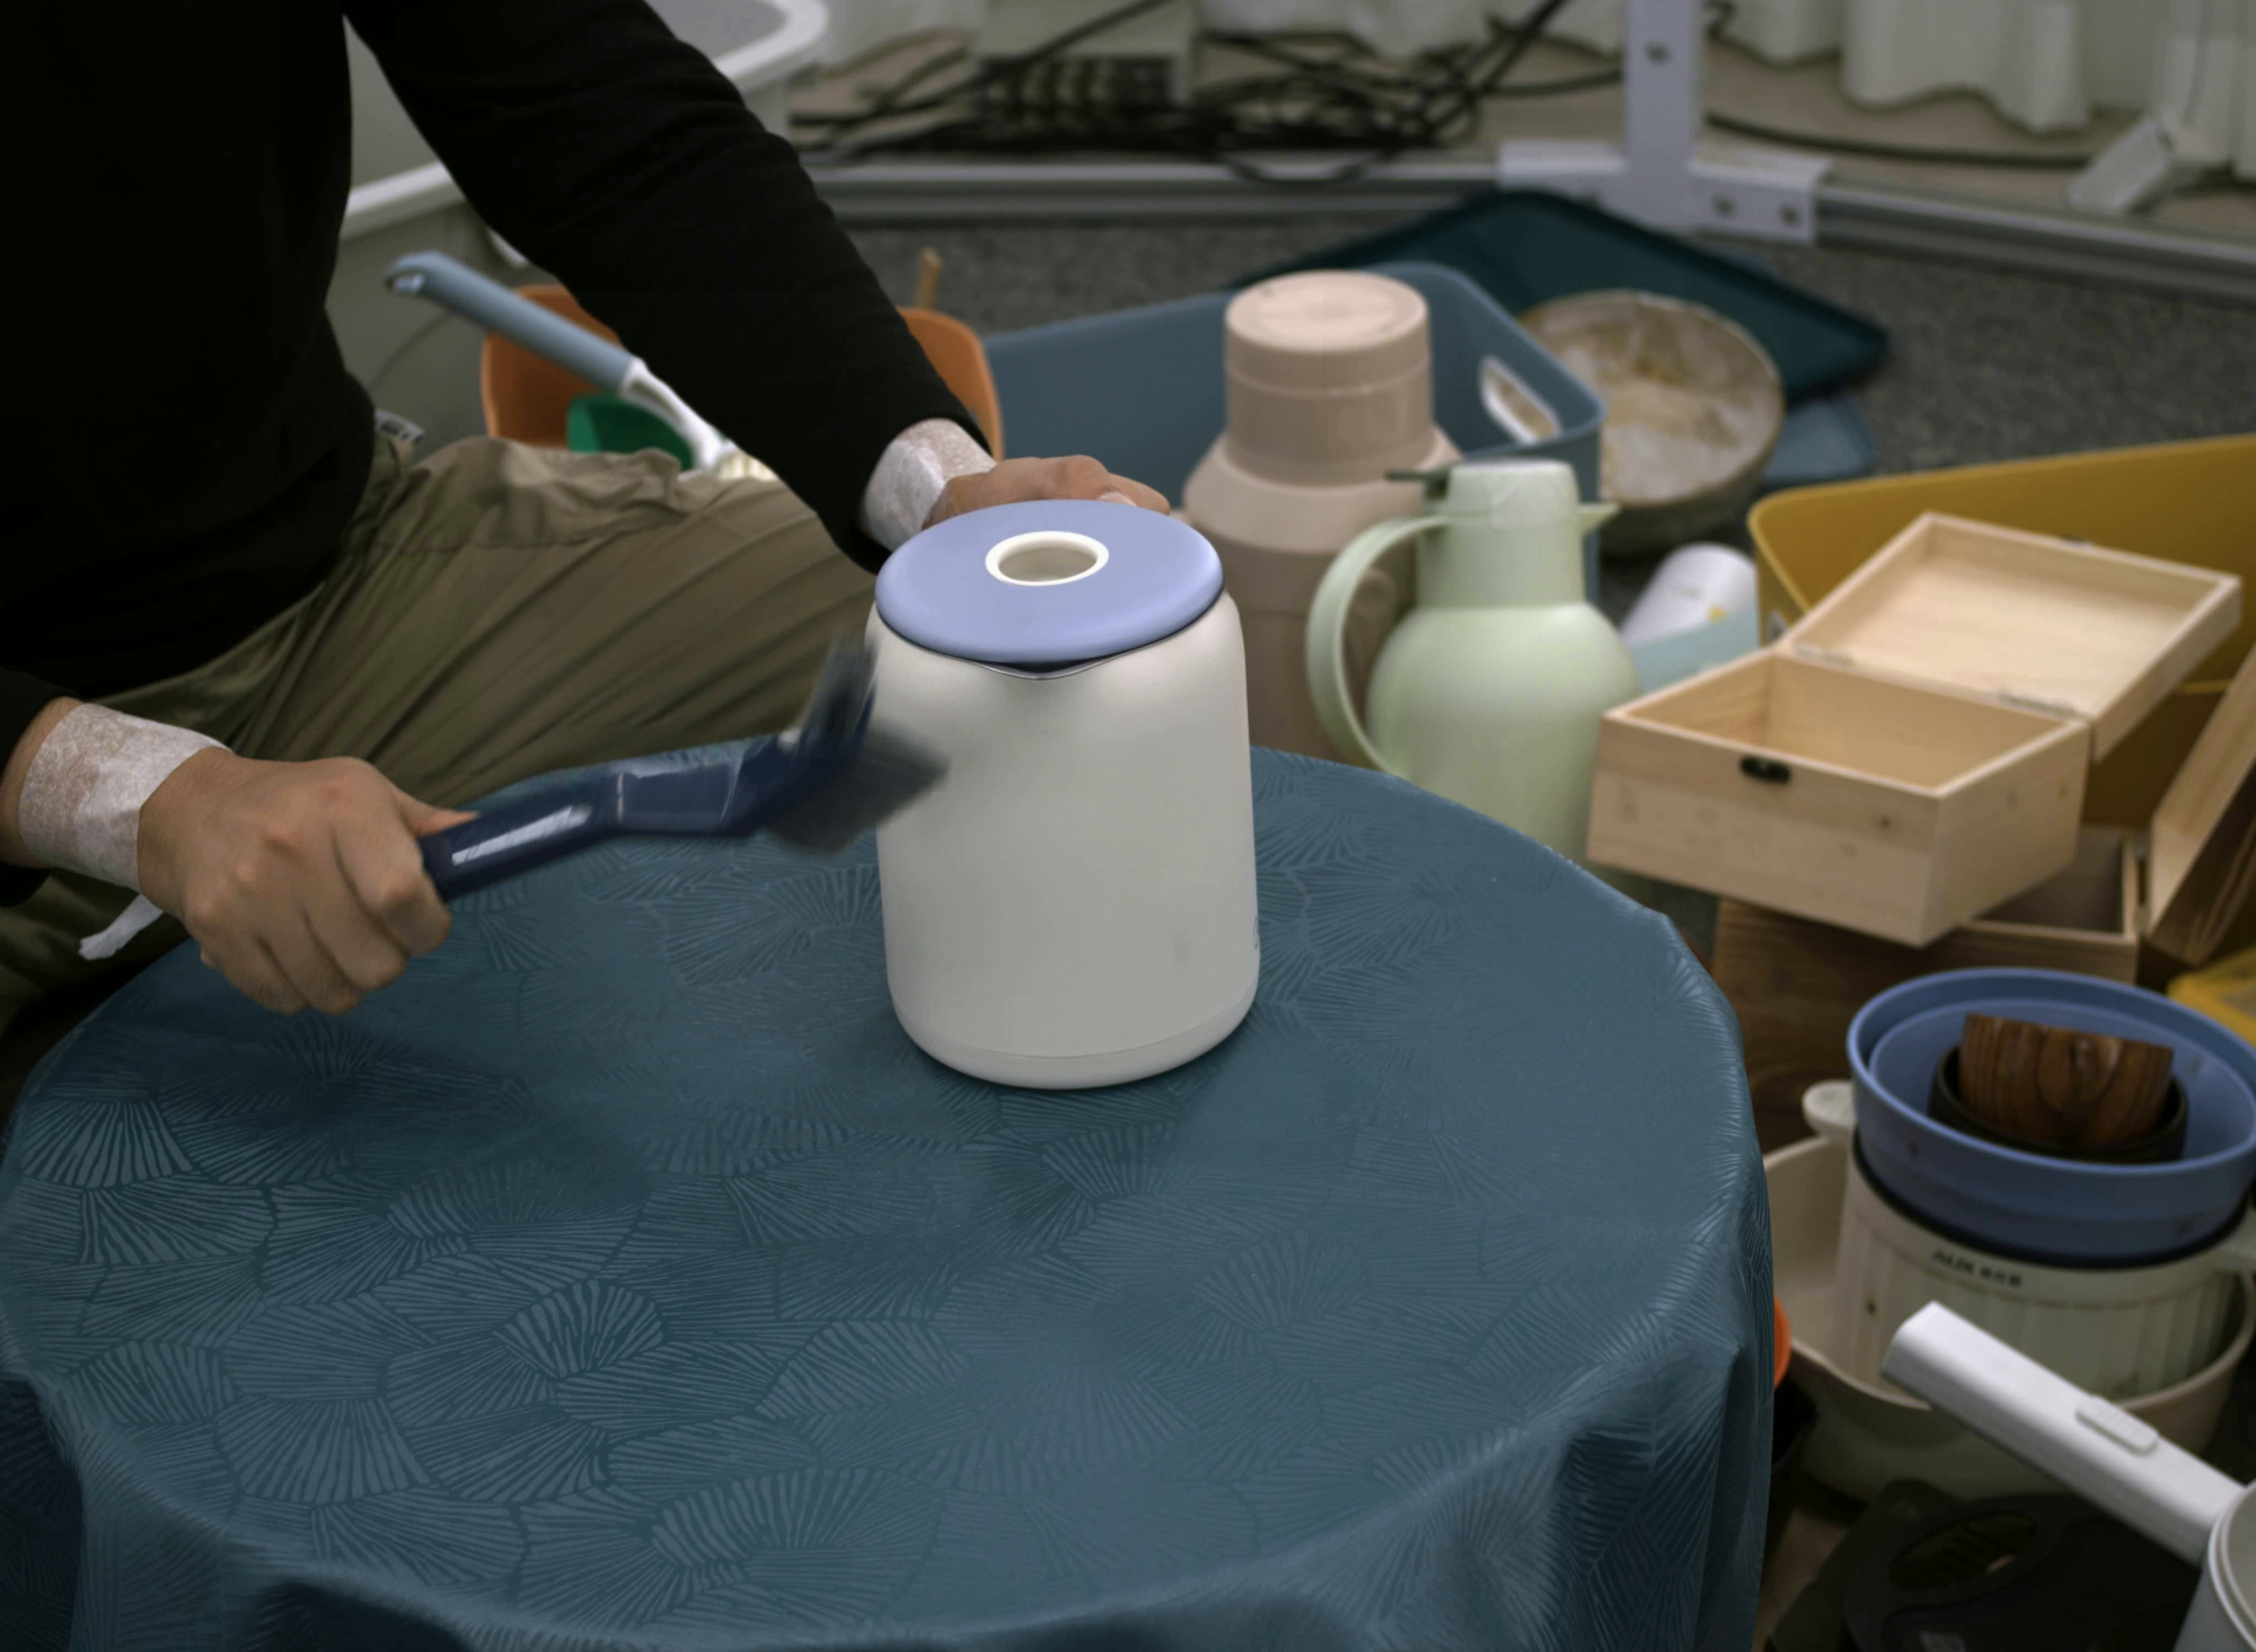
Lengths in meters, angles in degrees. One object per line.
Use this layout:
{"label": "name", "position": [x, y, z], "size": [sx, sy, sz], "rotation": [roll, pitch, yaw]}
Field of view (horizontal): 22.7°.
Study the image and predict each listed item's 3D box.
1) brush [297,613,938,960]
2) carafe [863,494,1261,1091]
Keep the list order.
{"label": "brush", "position": [-0.182, -0.011, 1.846], "size": [0.270, 0.095, 0.034], "rotation": [-14, 53, 27]}
{"label": "carafe", "position": [-0.023, -0.023, 1.959], "size": [0.131, 0.180, 0.194], "rotation": [-3, 26, 0]}
